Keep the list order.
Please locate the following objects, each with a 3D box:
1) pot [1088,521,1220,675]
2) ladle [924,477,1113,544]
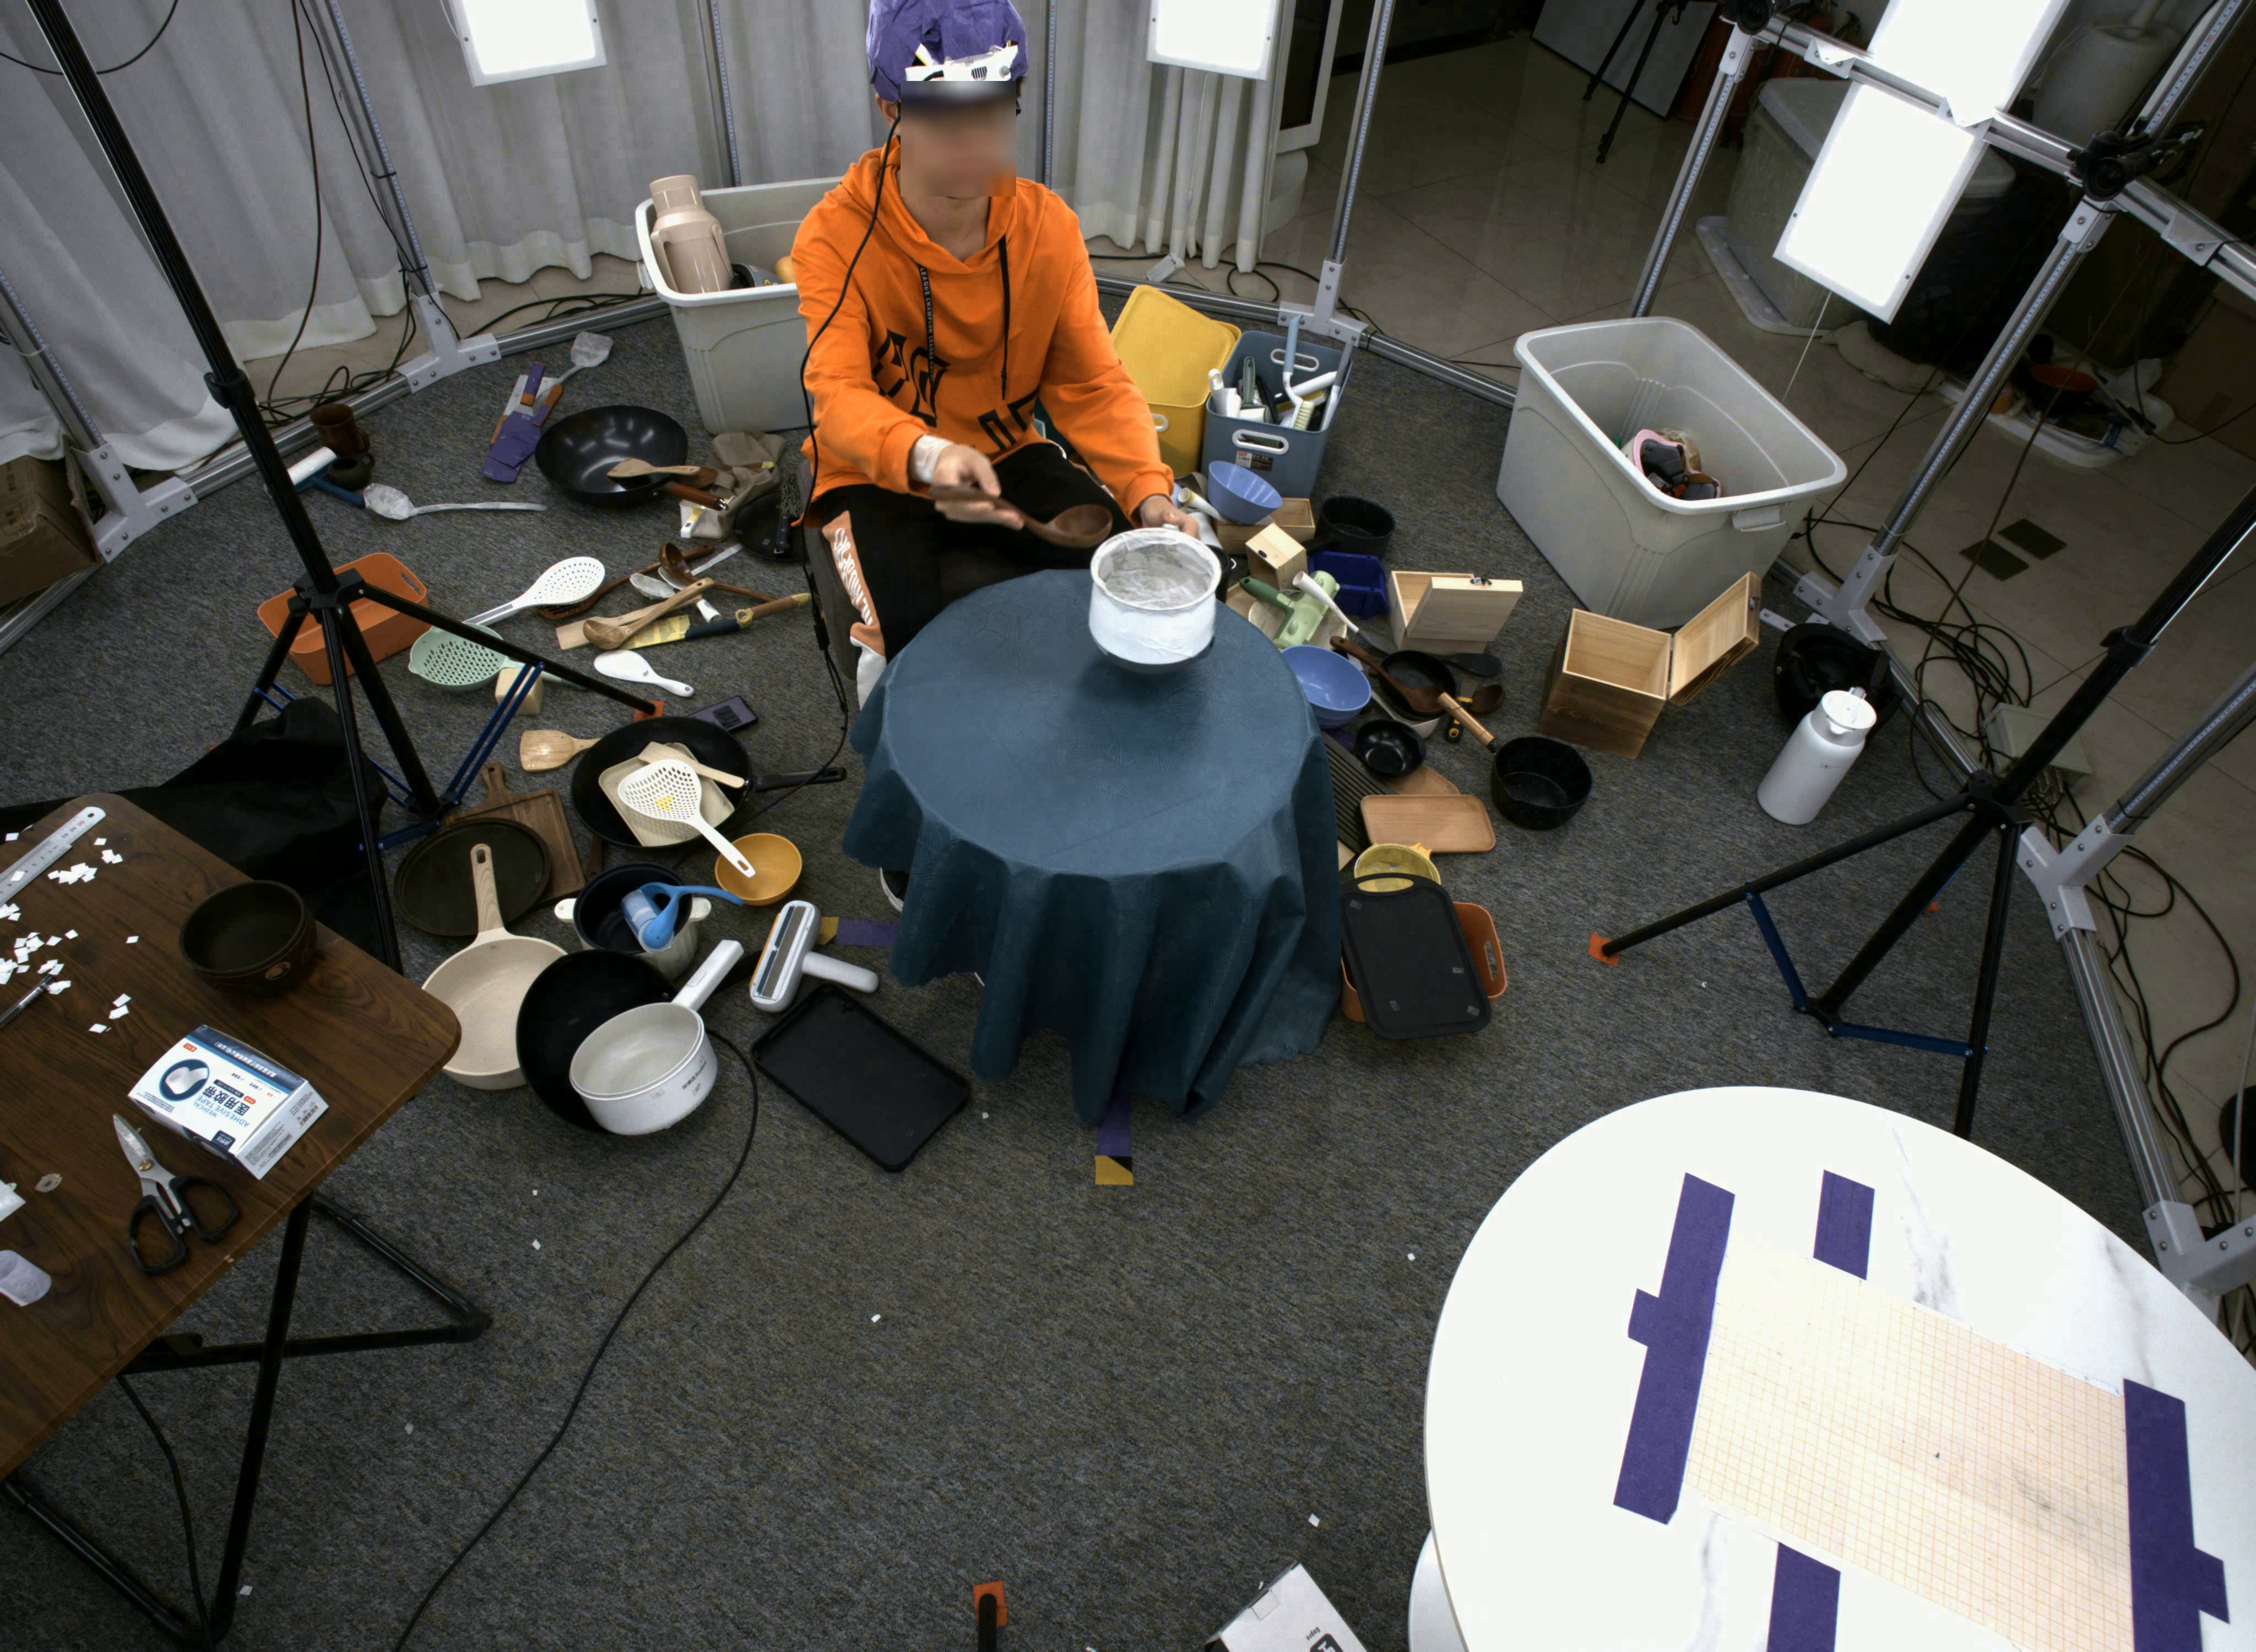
[{"bbox_3d":[0.038,-0.329,1.804,0.179,0.133,0.239,10,49,5],"label":"pot"},{"bbox_3d":[-0.127,-0.397,1.568,0.257,0.064,0.078,11,22,-41],"label":"ladle"}]
